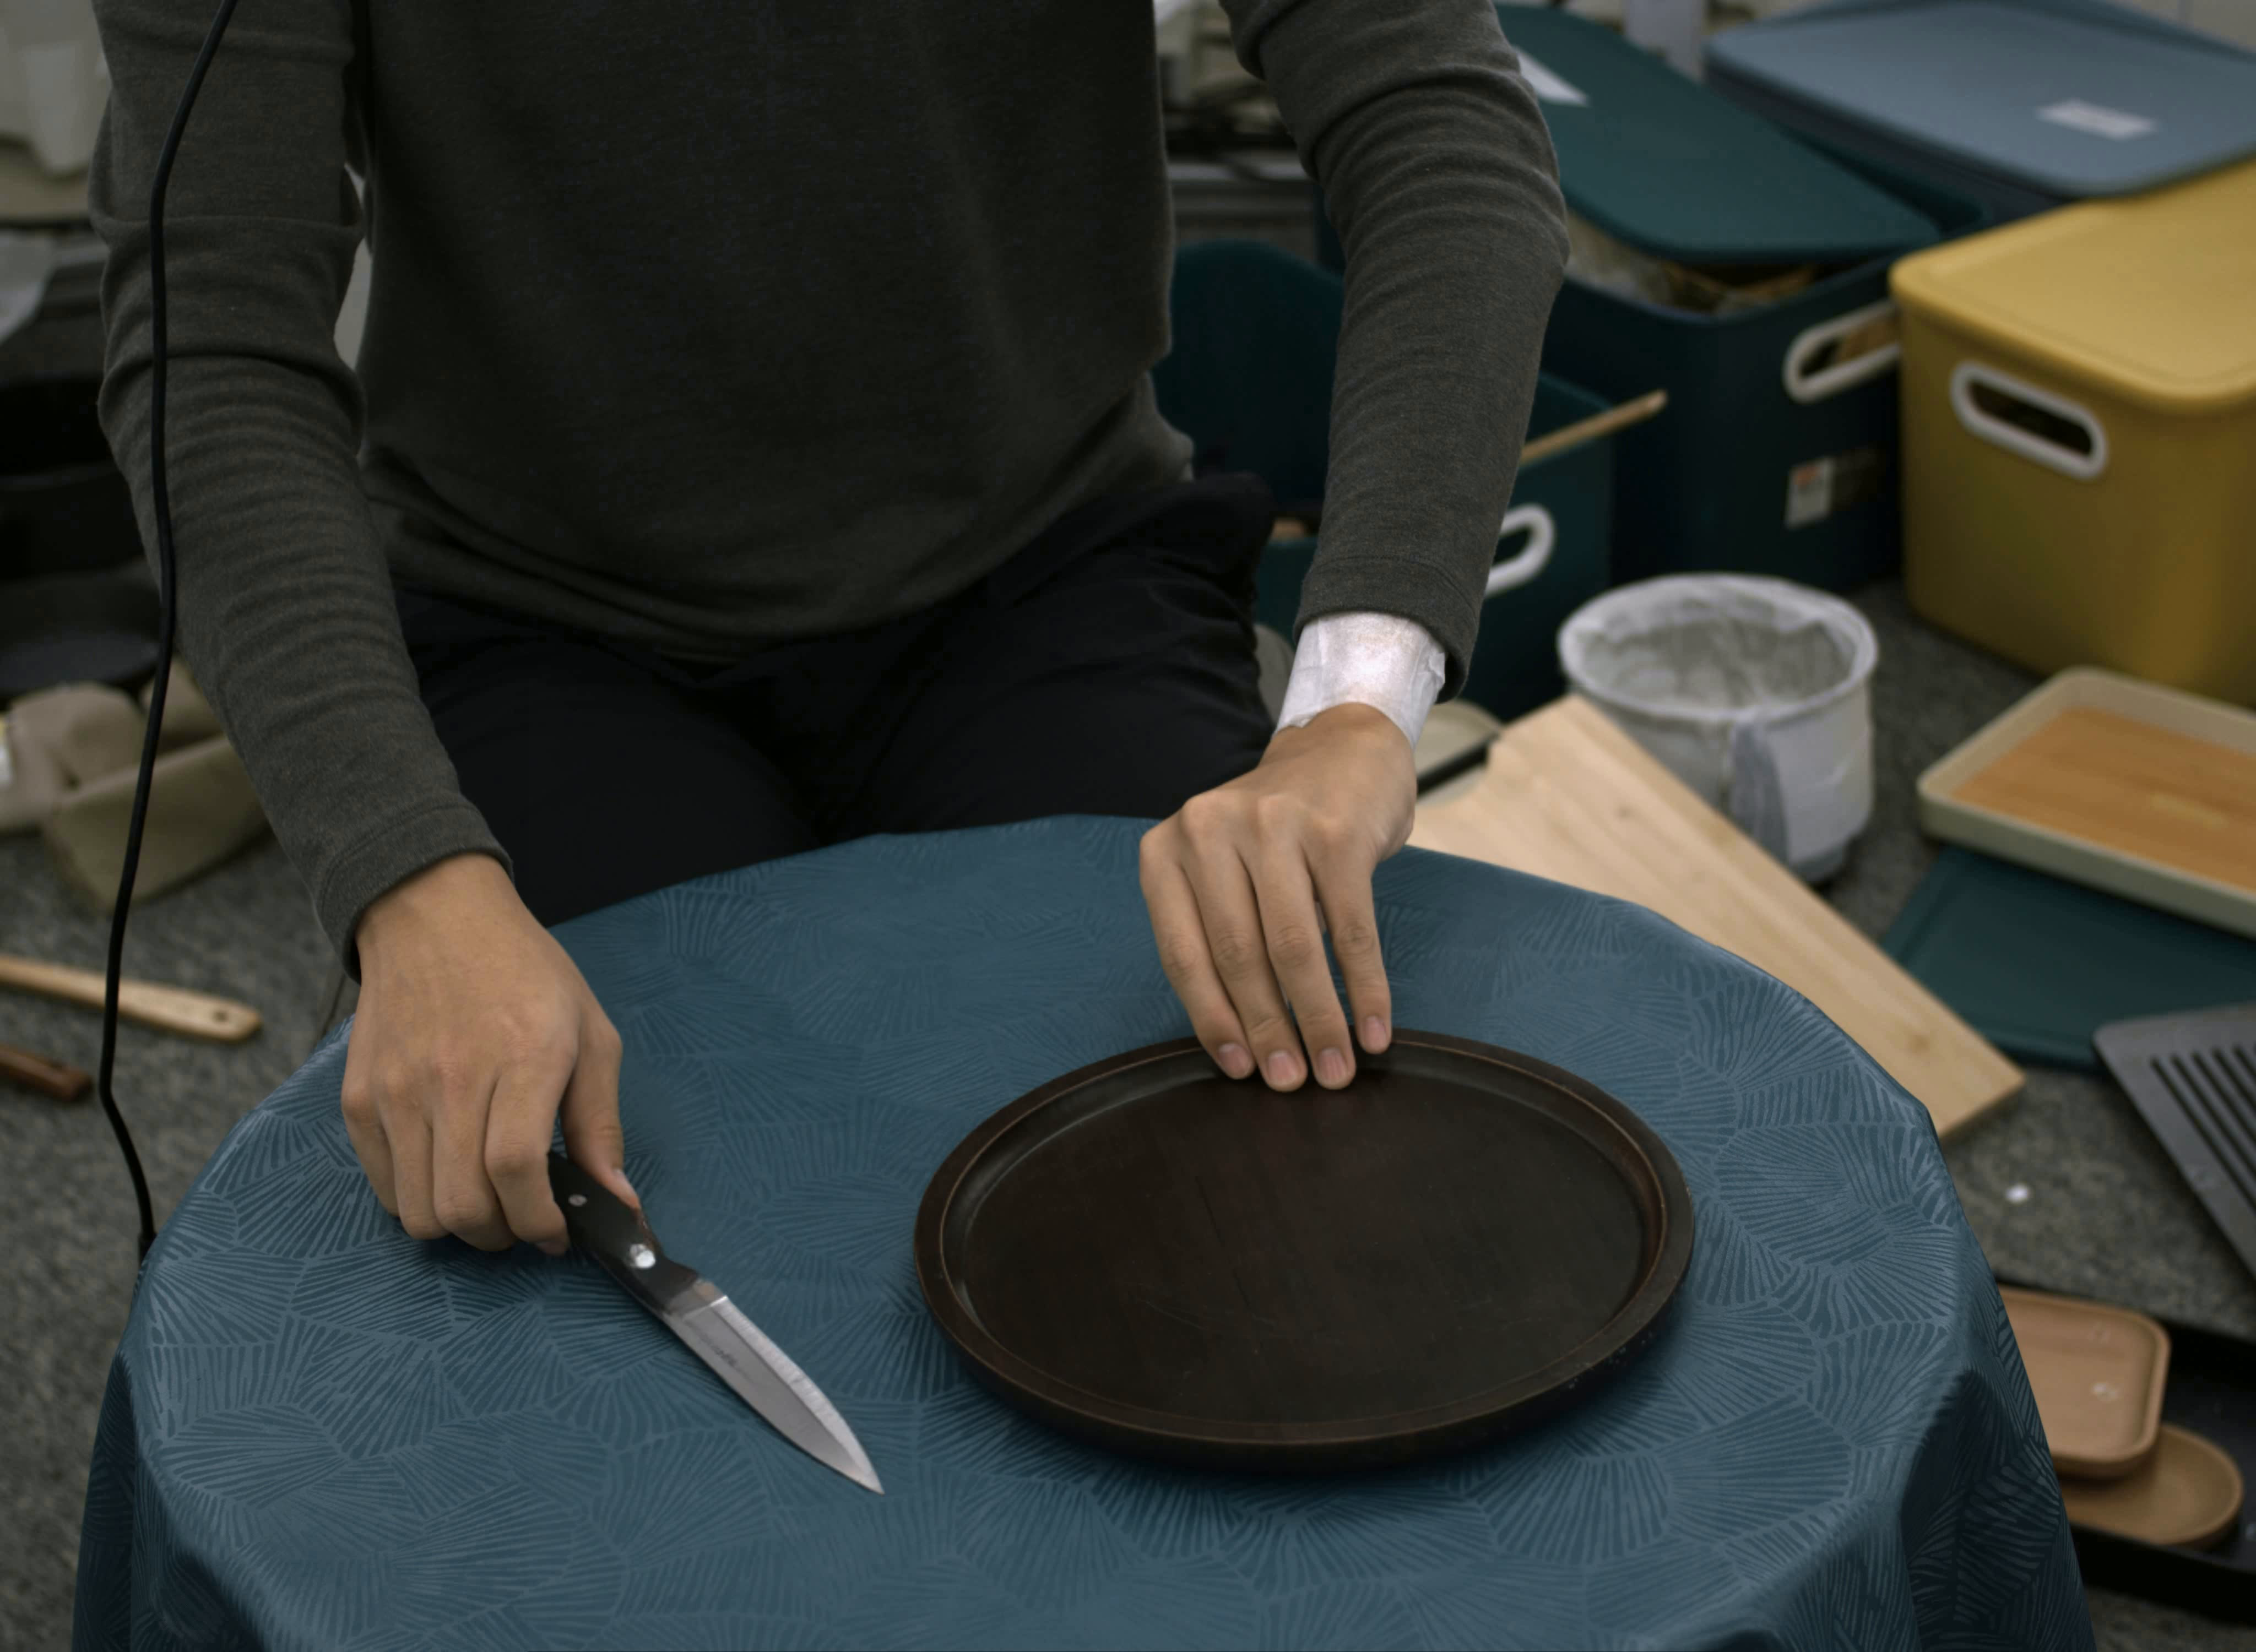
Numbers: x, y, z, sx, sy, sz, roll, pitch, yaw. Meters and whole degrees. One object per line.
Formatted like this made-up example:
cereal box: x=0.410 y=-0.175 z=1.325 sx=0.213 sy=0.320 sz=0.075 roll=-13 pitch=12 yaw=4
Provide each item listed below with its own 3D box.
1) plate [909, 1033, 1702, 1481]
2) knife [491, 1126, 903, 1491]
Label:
plate: x=0.057 y=0.136 z=1.804 sx=0.253 sy=0.029 sz=0.259 roll=-1 pitch=28 yaw=1
knife: x=-0.141 y=0.156 z=1.793 sx=0.024 sy=0.016 sz=0.239 roll=-26 pitch=38 yaw=-26
